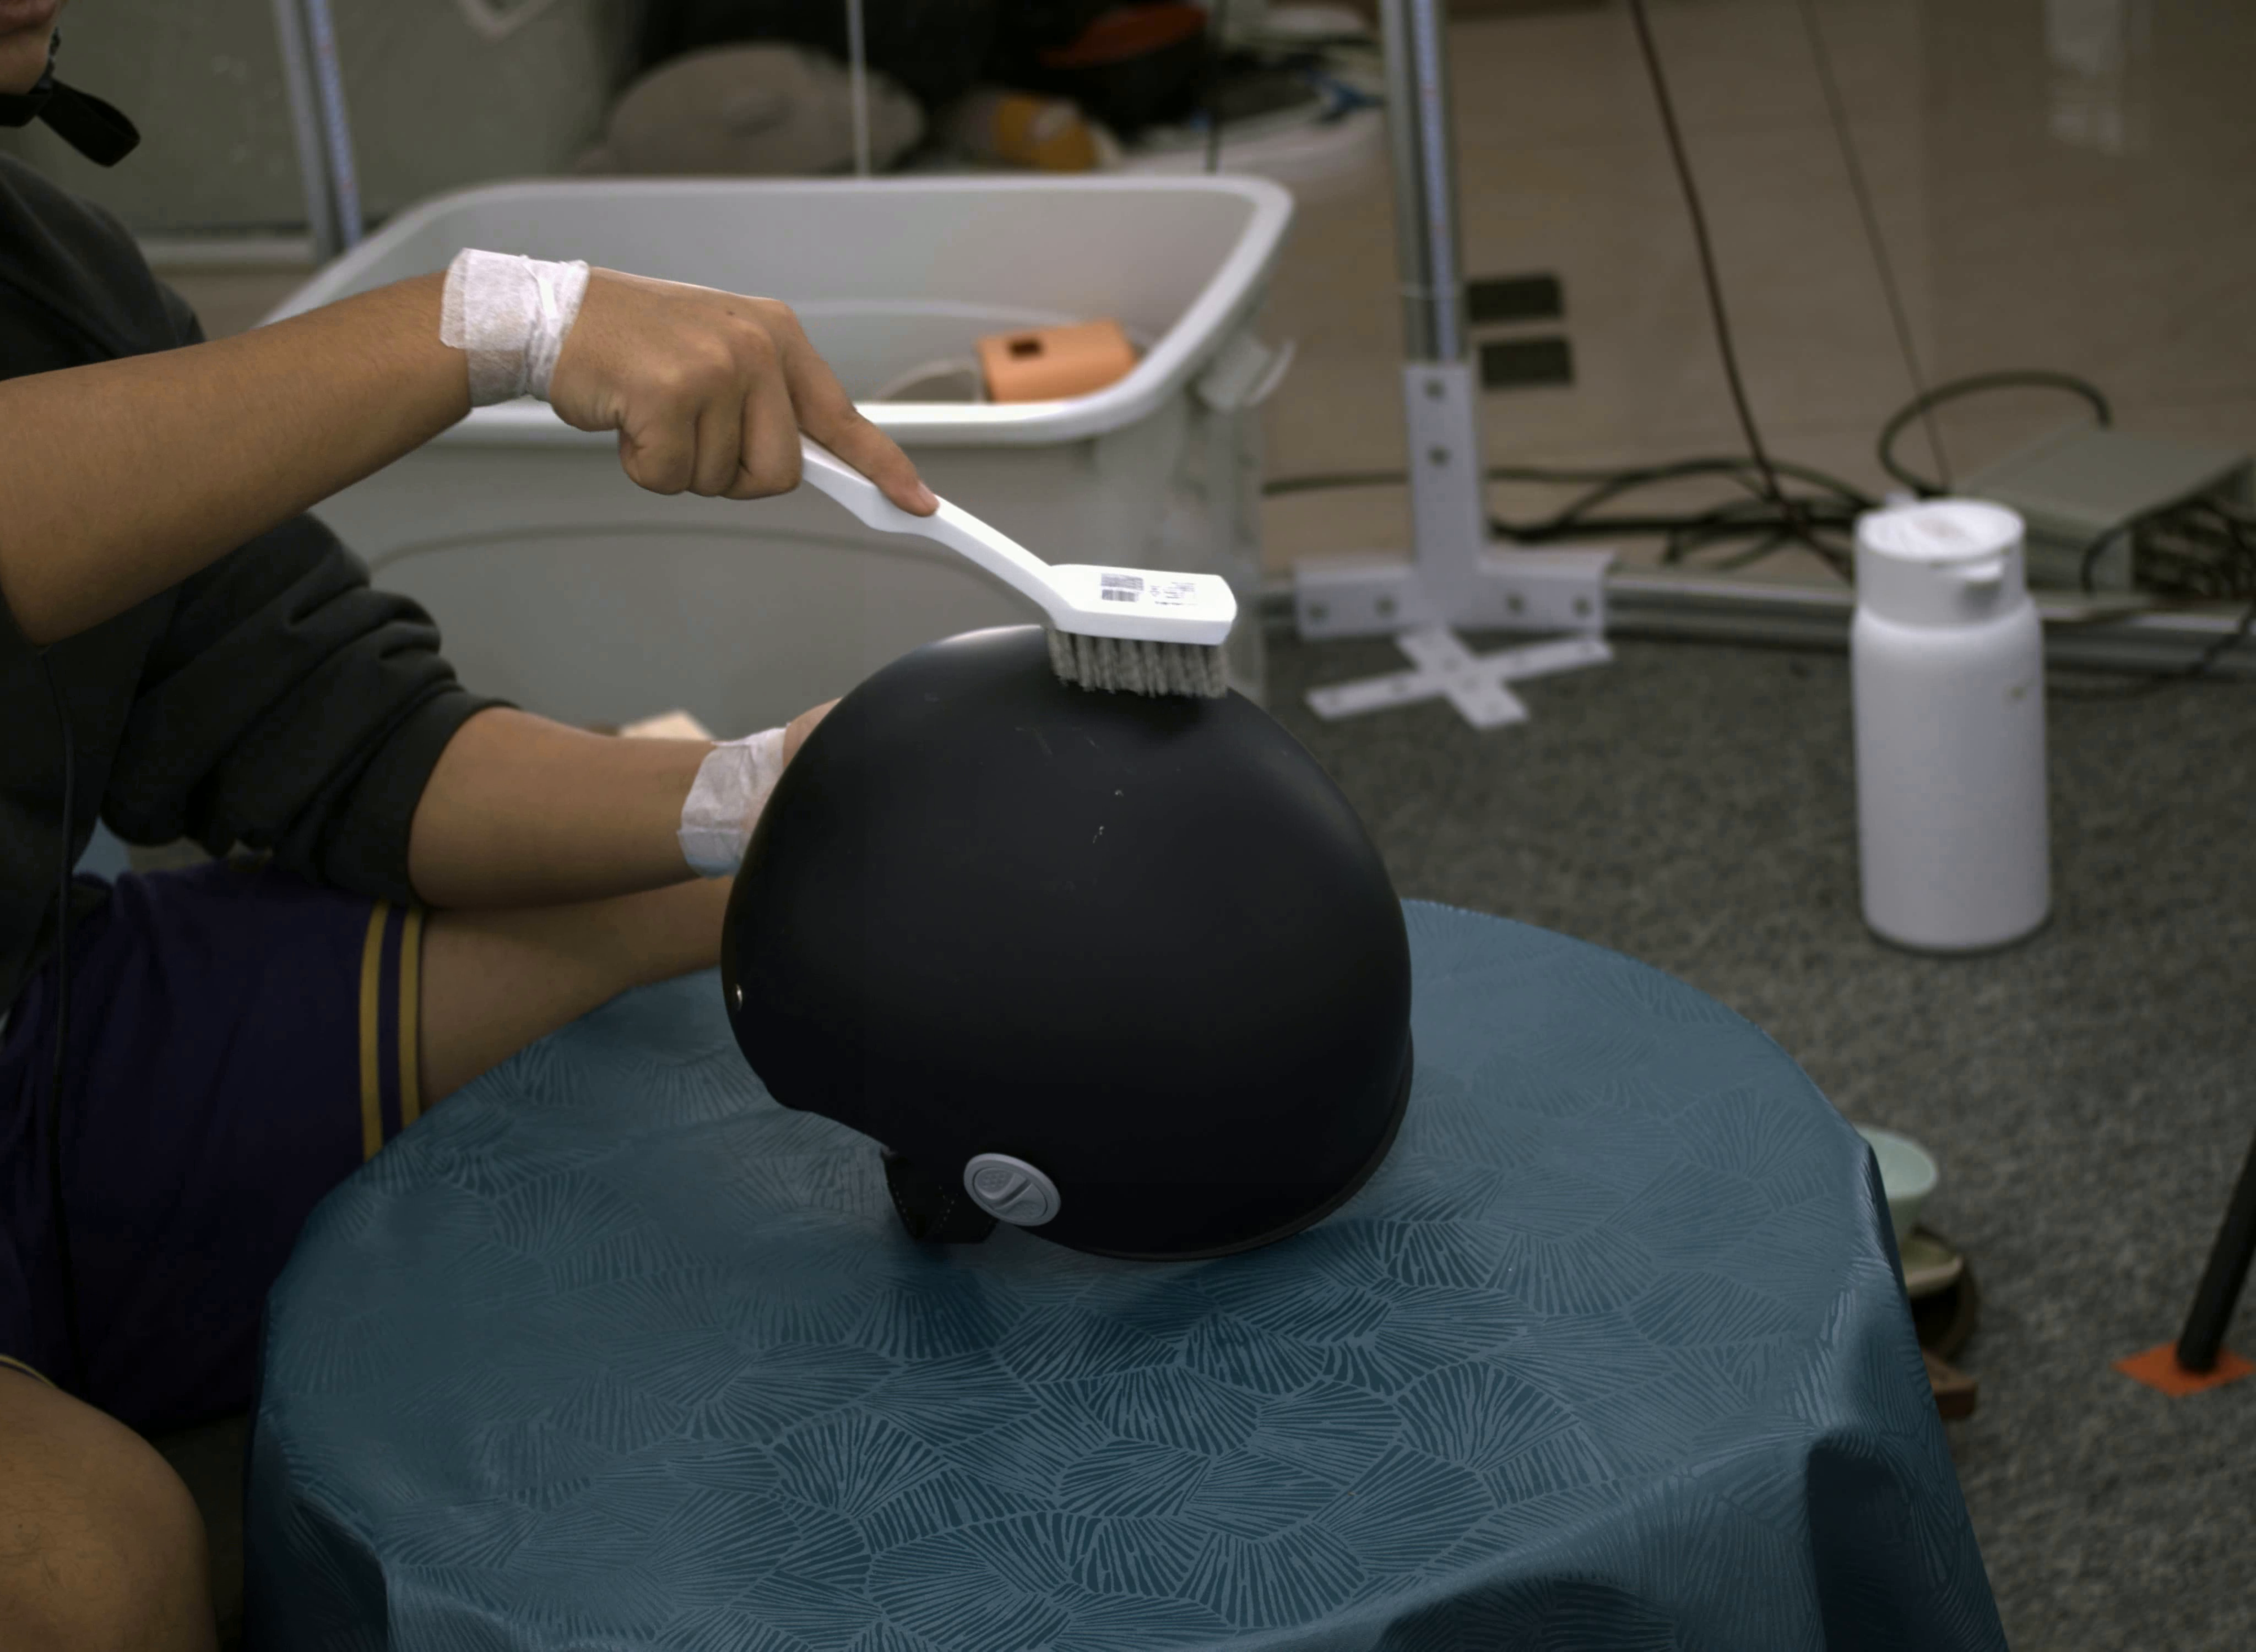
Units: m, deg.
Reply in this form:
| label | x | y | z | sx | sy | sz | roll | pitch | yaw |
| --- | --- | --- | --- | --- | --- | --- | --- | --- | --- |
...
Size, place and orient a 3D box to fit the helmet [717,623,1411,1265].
| label | x | y | z | sx | sy | sz | roll | pitch | yaw |
| --- | --- | --- | --- | --- | --- | --- | --- | --- | --- |
| helmet | -0.020 | 0.025 | 2.106 | 0.271 | 0.170 | 0.227 | 28 | 55 | 18 |

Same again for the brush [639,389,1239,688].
| label | x | y | z | sx | sy | sz | roll | pitch | yaw |
| --- | --- | --- | --- | --- | --- | --- | --- | --- | --- |
| brush | -0.069 | -0.100 | 2.043 | 0.244 | 0.051 | 0.034 | 18 | 32 | -17 |
